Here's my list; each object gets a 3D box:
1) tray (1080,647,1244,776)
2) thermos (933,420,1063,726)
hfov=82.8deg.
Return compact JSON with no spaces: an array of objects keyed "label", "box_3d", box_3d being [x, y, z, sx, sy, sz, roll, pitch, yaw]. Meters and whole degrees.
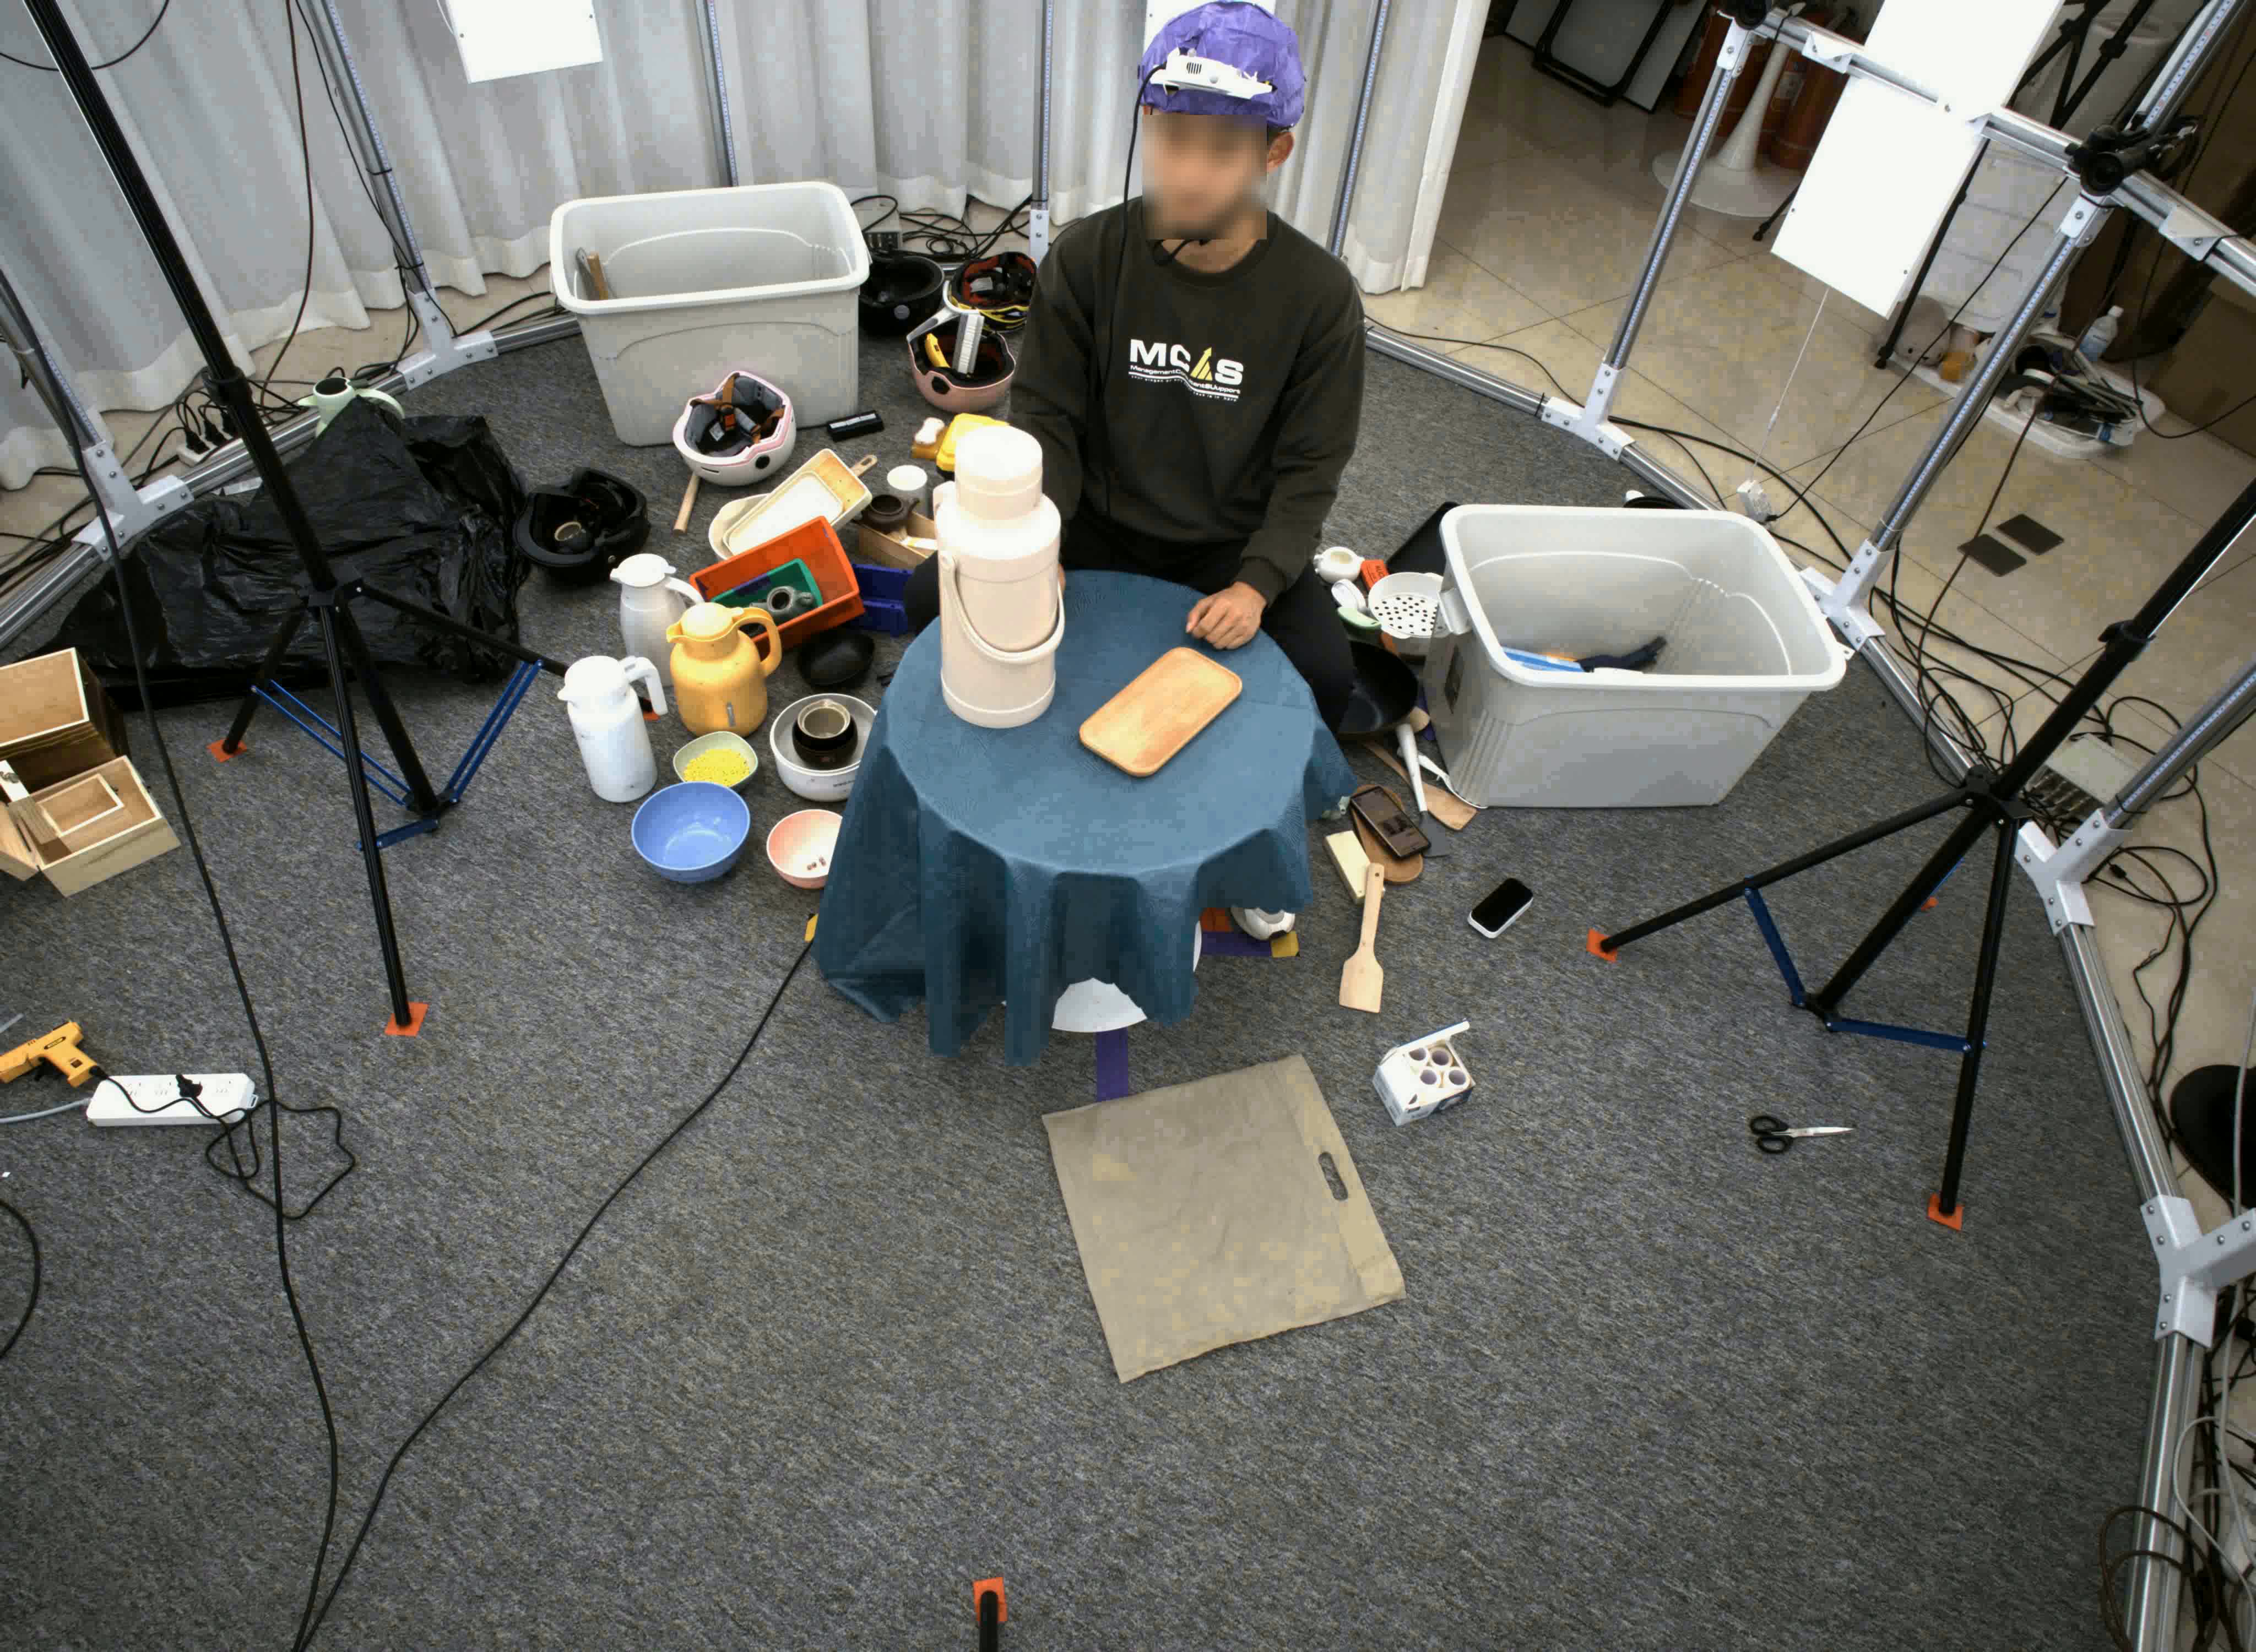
[{"label":"tray","box_3d":[0.049,-0.163,1.799,0.132,0.022,0.253,35,54,21]},{"label":"thermos","box_3d":[-0.176,-0.332,1.684,0.177,0.396,0.210,-36,61,-29]}]
